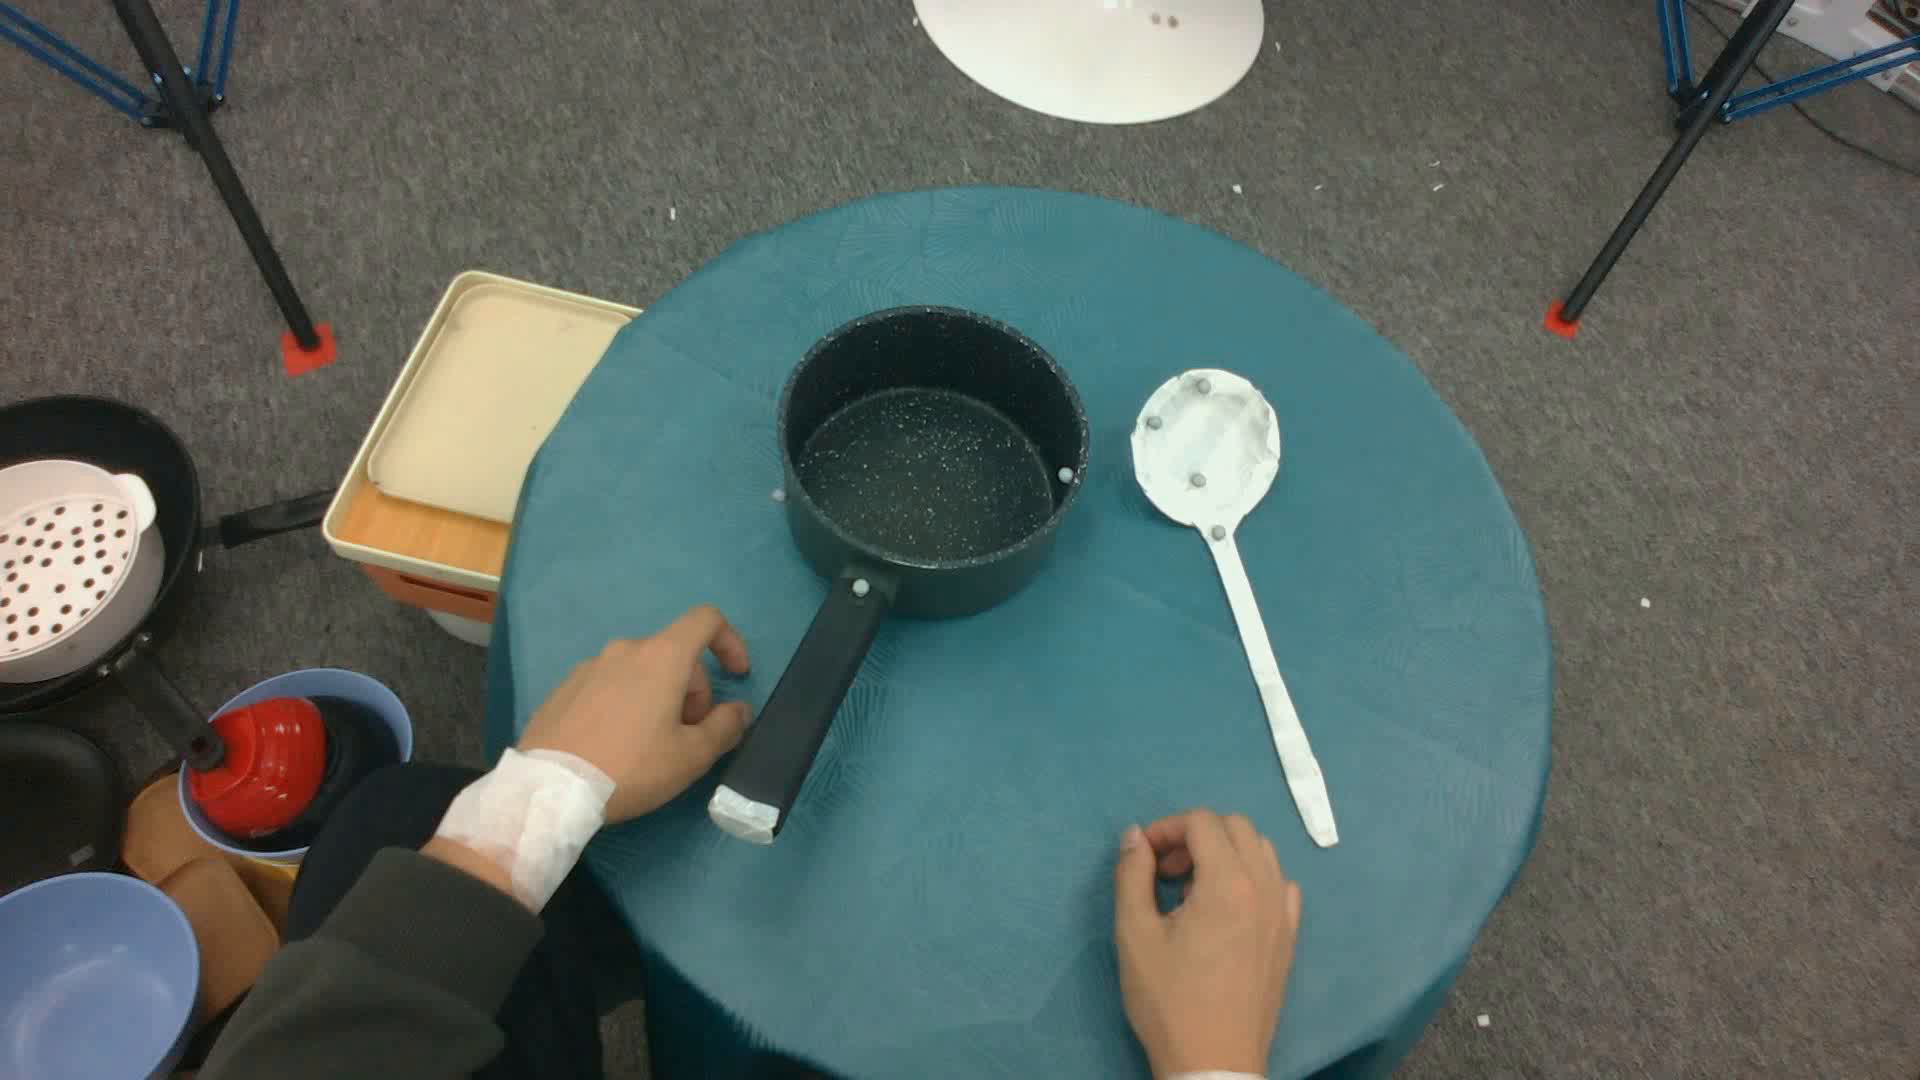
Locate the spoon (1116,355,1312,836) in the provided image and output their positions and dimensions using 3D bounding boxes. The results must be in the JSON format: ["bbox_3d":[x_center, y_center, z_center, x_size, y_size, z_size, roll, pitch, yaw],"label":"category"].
[{"bbox_3d":[0.155,0.024,0.770,0.101,0.059,0.278,-6,61,-9],"label":"spoon"}]

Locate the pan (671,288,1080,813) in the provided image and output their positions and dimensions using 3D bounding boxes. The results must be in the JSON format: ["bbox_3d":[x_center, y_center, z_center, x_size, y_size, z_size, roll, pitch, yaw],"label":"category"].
[{"bbox_3d":[-0.054,0.009,0.735,0.172,0.086,0.330,23,59,7],"label":"pan"}]
